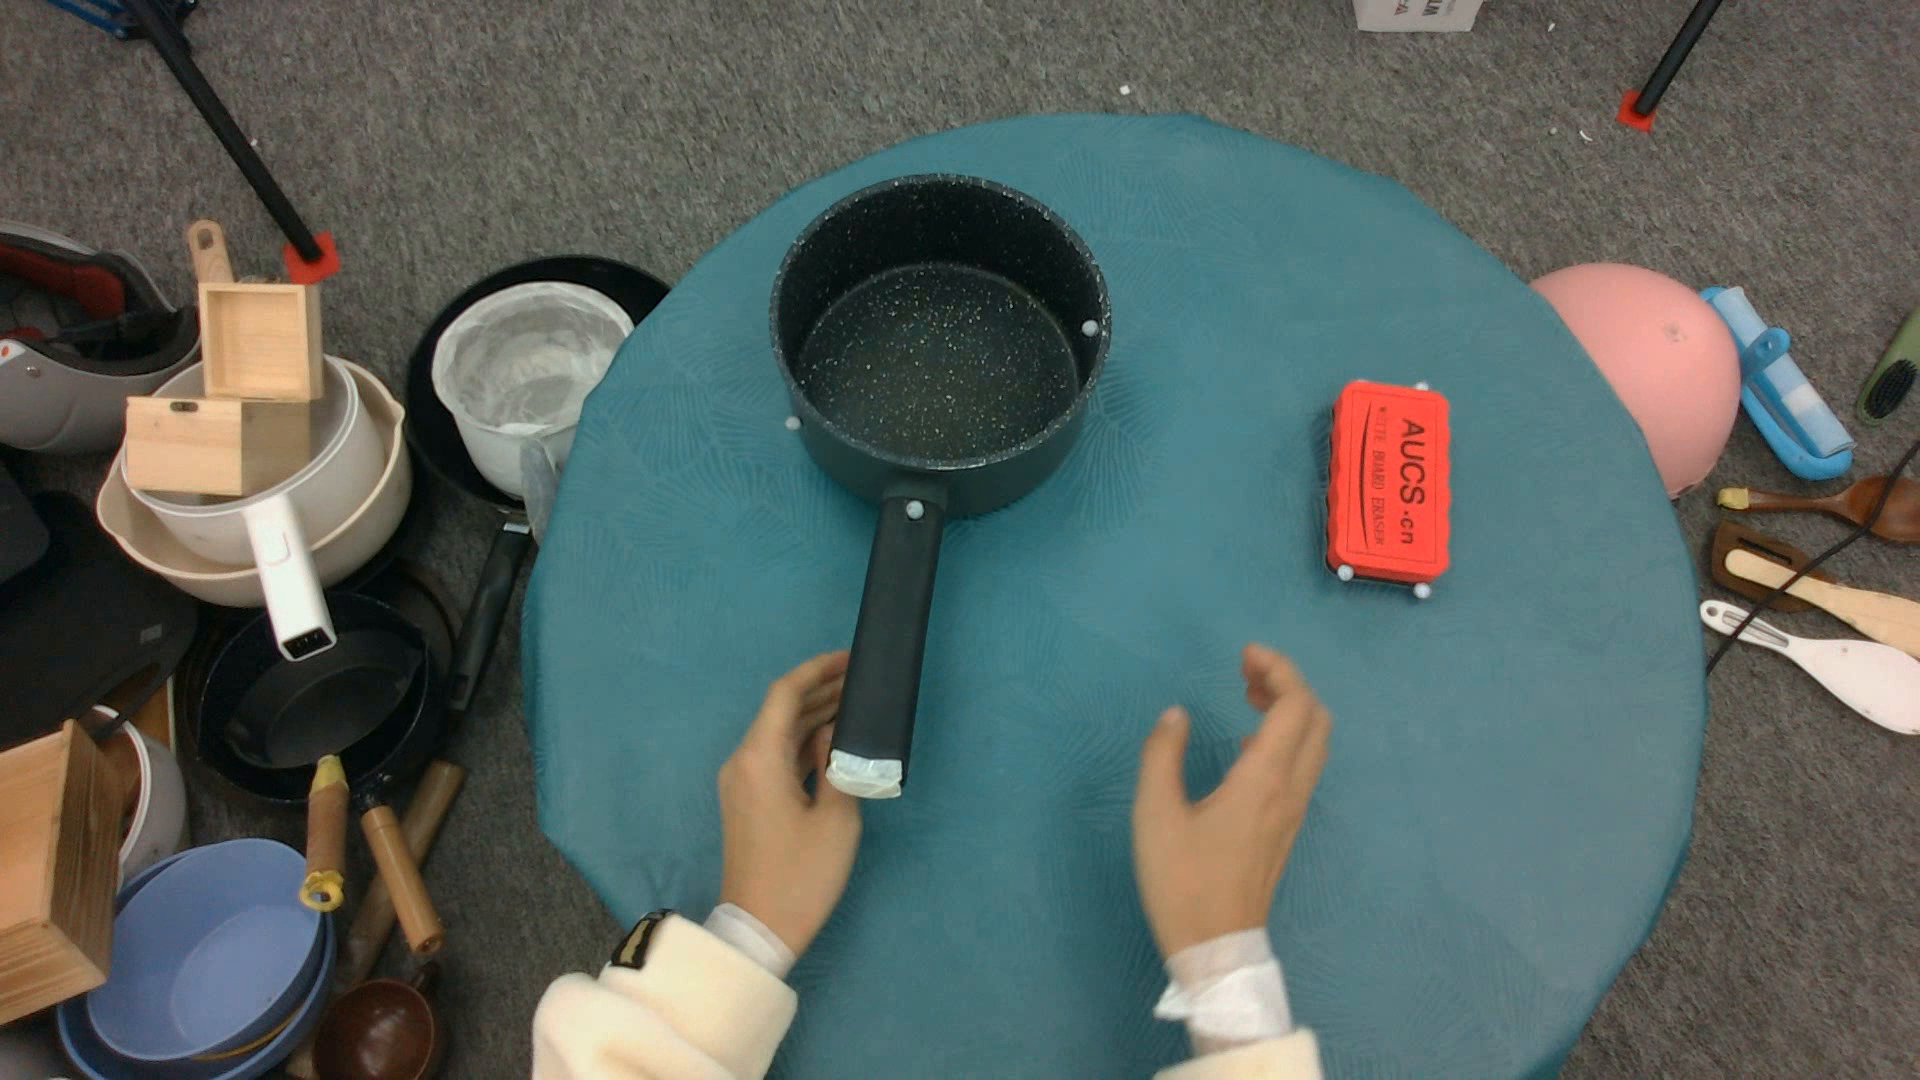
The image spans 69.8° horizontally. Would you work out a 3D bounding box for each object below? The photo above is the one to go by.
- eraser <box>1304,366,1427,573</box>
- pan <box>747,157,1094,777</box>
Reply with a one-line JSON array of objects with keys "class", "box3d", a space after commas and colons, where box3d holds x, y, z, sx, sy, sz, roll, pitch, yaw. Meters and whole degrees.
[{"class": "eraser", "box3d": [0.215, -0.038, 0.728, 0.059, 0.023, 0.108, 9, 66, 0]}, {"class": "pan", "box3d": [-0.033, -0.036, 0.682, 0.172, 0.086, 0.330, 10, 65, 2]}]
